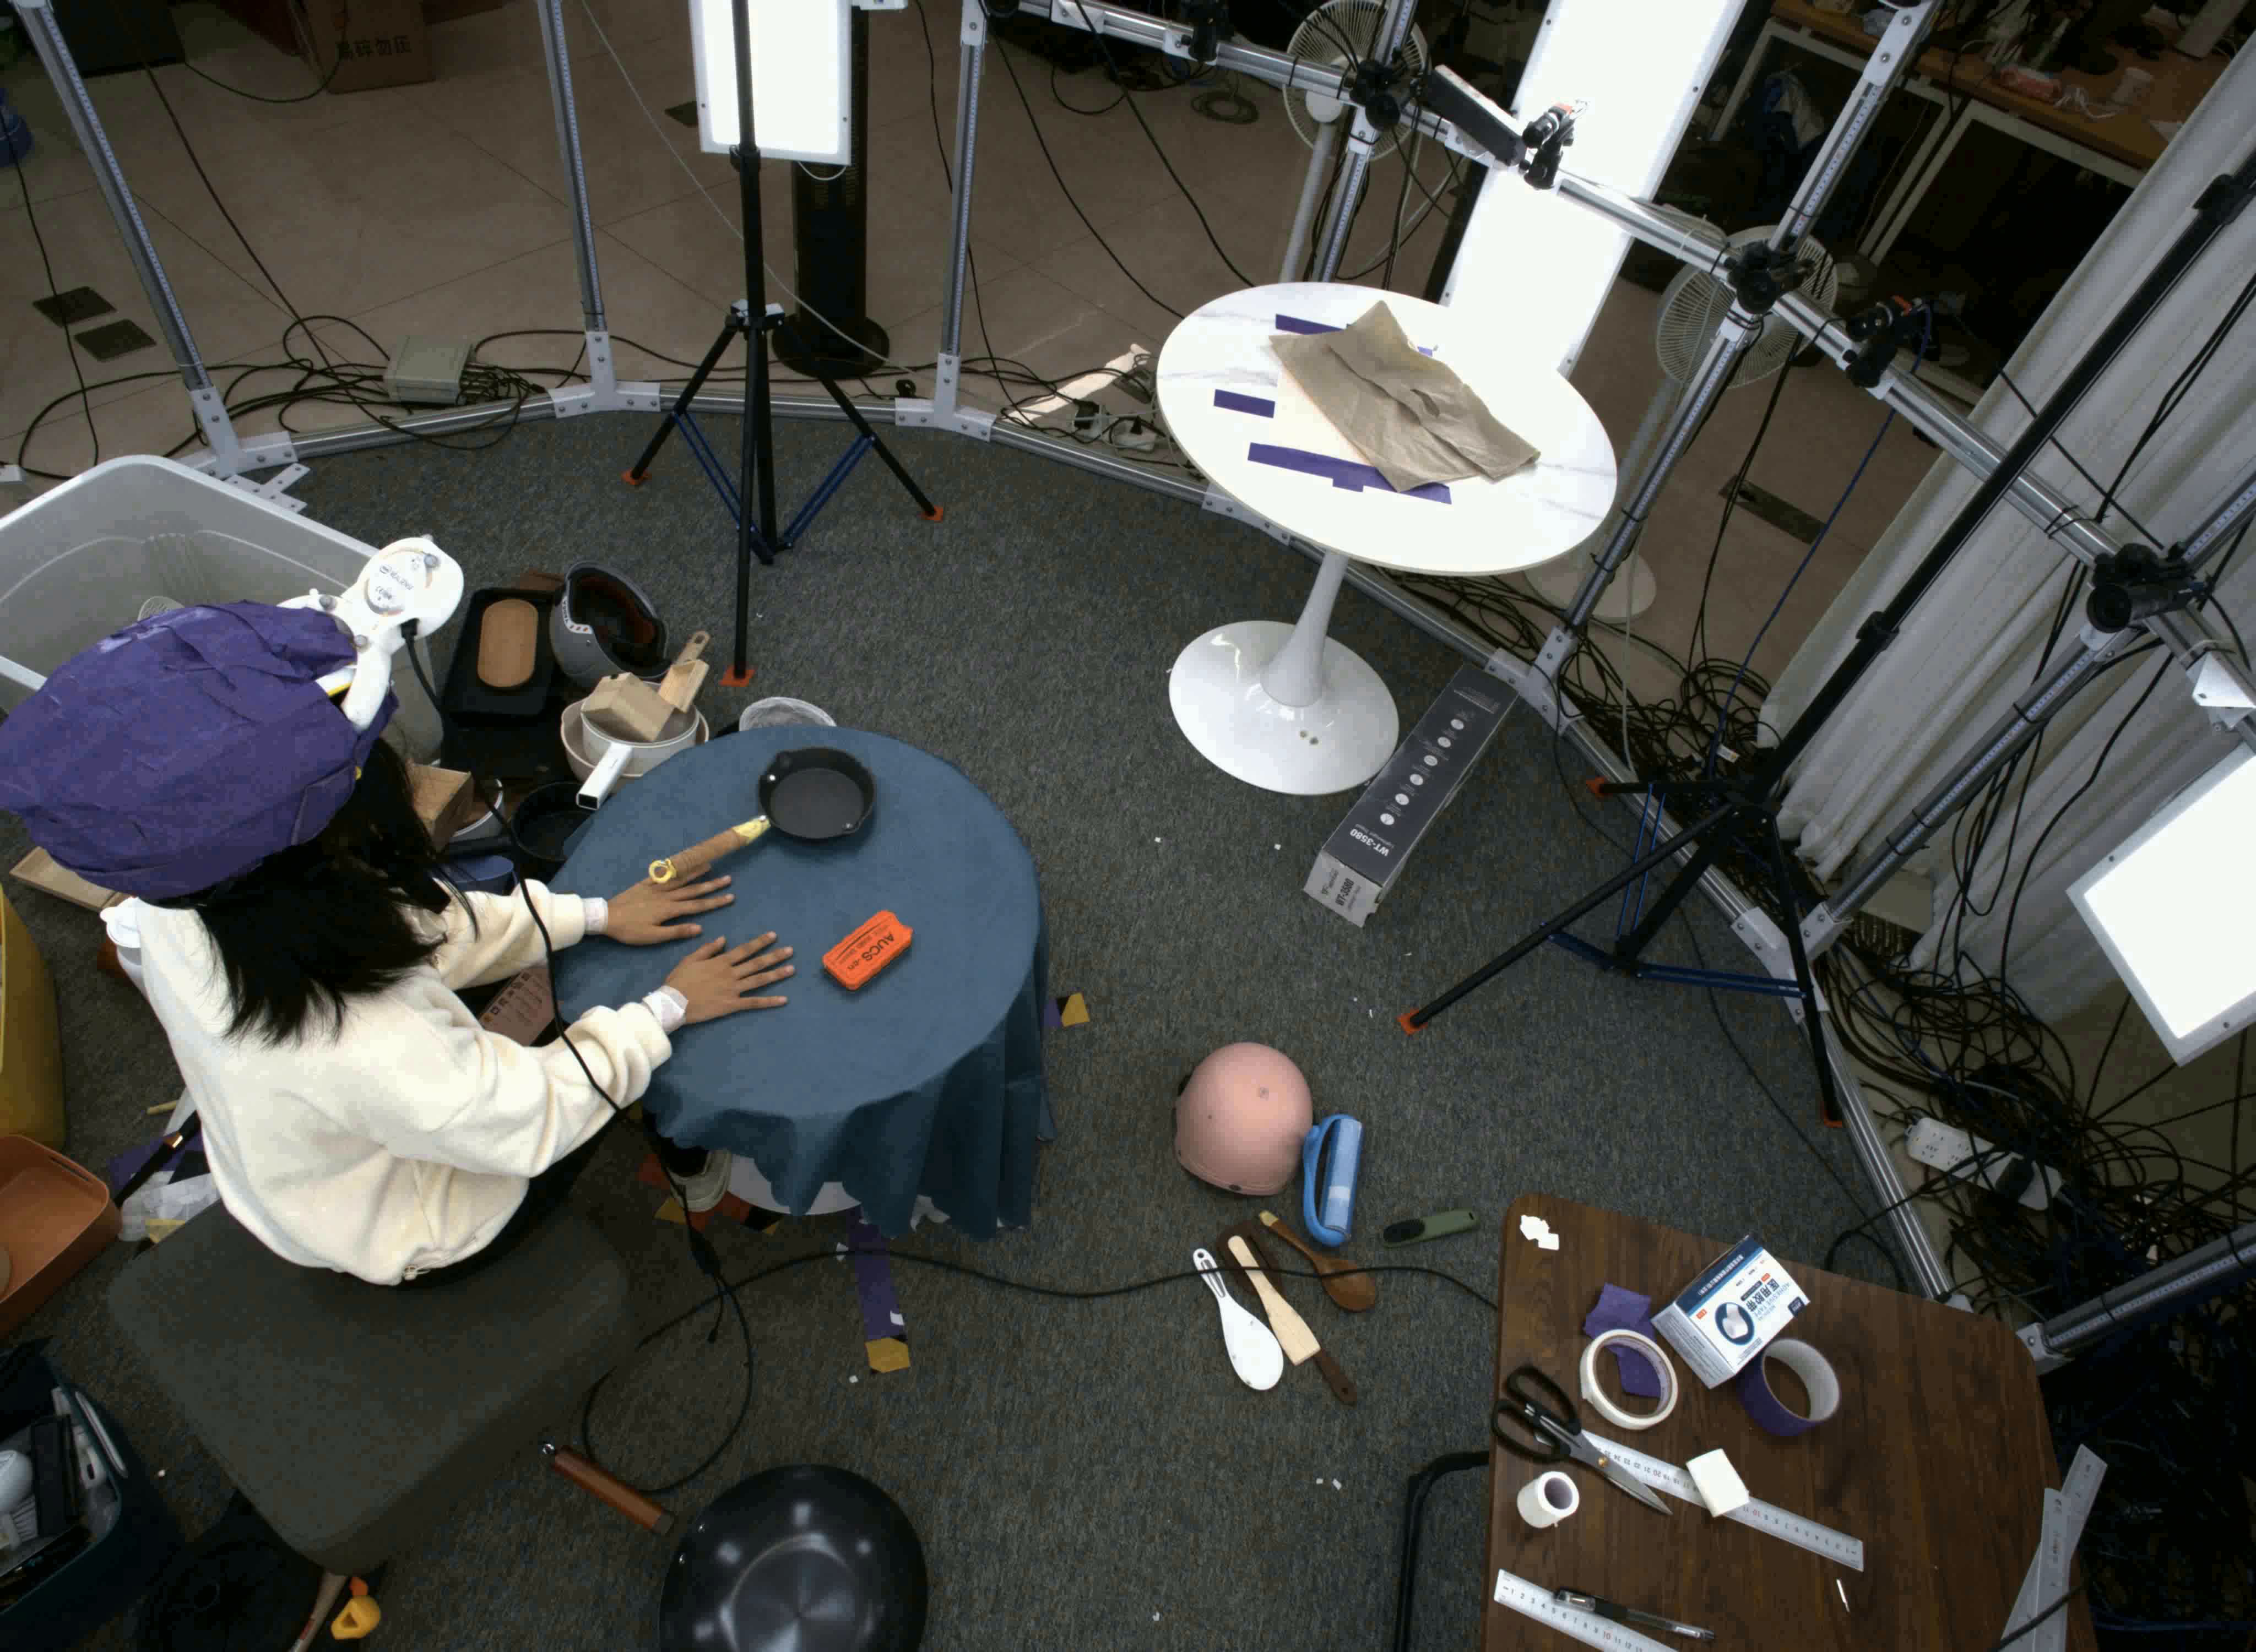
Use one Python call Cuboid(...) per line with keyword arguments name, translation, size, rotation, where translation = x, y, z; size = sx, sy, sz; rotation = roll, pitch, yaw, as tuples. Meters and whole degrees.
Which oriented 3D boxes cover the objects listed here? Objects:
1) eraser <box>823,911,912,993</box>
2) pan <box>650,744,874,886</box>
Cuboid(name="eraser", translation=(-0.324, 0.154, 1.615), size=(0.058, 0.023, 0.108), rotation=(39, 54, 15))
Cuboid(name="pan", translation=(-0.476, -0.005, 1.676), size=(0.325, 0.050, 0.165), rotation=(-33, 68, -34))
